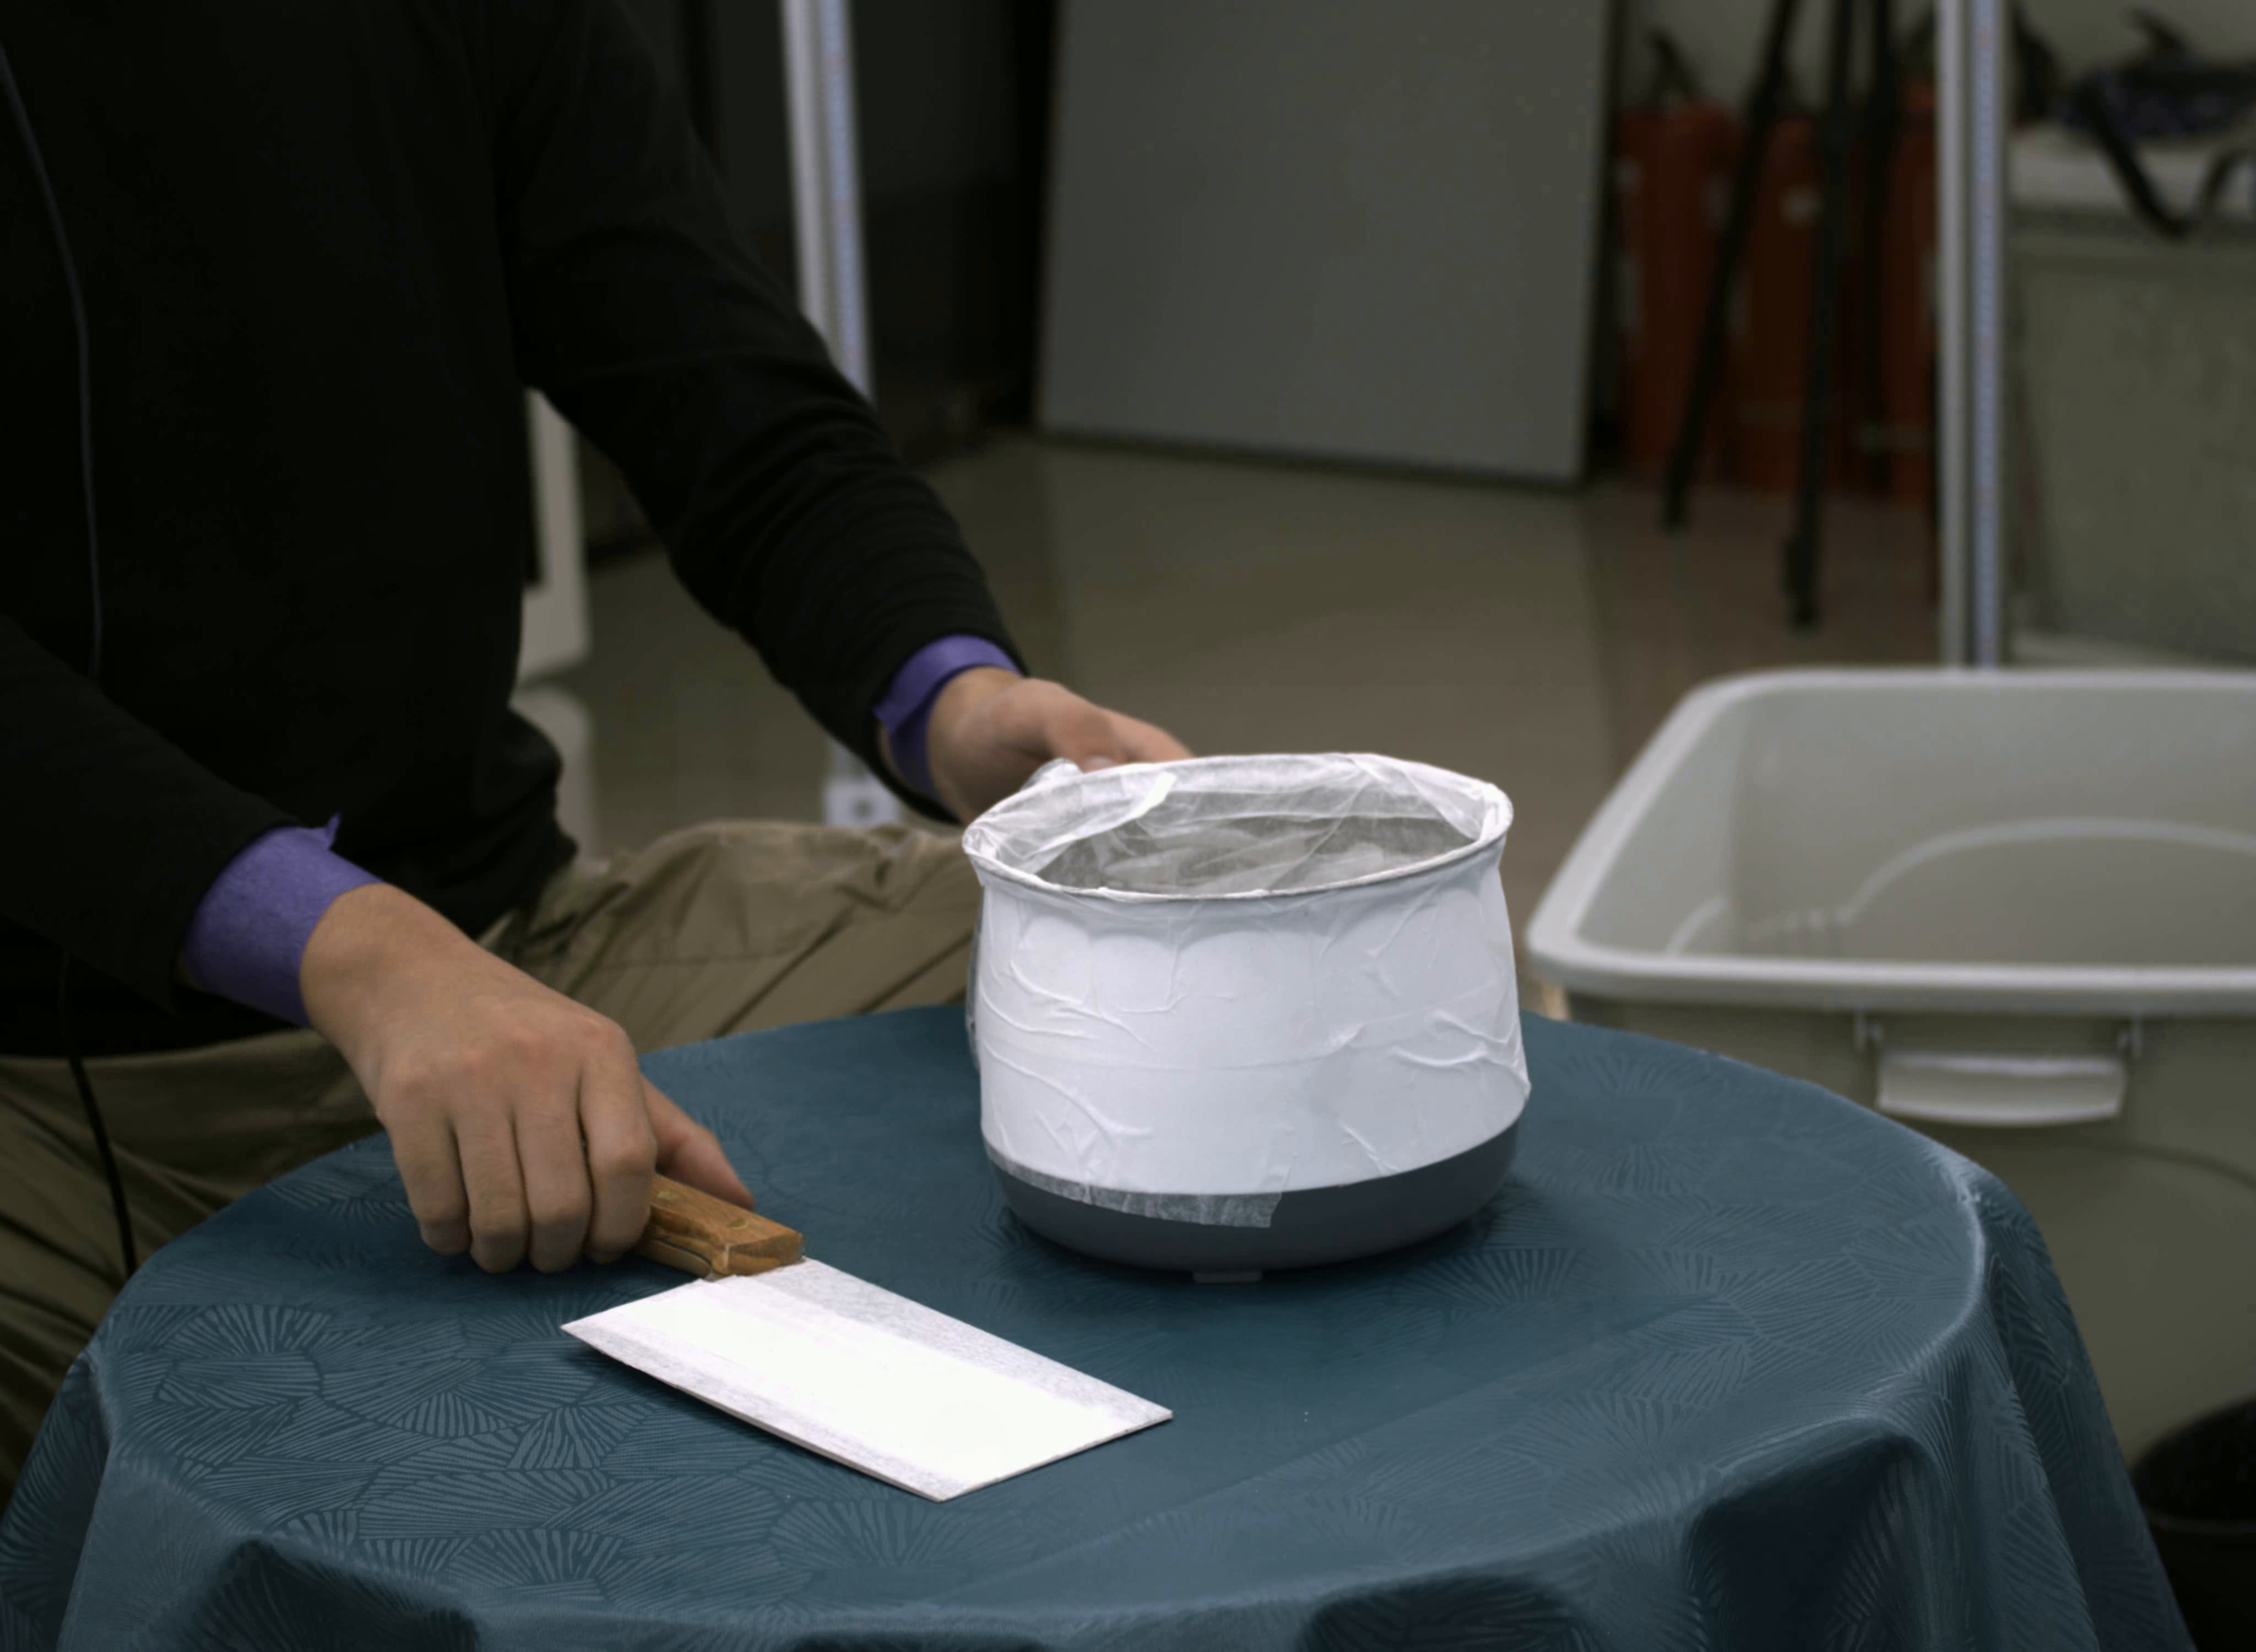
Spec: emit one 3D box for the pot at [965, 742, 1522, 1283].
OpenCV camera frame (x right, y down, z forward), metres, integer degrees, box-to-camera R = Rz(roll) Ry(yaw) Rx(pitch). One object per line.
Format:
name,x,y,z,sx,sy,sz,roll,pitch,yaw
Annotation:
pot,0.022,0.053,1.749,0.175,0.138,0.236,-13,17,-34

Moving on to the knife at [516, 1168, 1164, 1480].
knife,-0.114,0.153,1.654,0.091,0.021,0.309,-14,18,-36
